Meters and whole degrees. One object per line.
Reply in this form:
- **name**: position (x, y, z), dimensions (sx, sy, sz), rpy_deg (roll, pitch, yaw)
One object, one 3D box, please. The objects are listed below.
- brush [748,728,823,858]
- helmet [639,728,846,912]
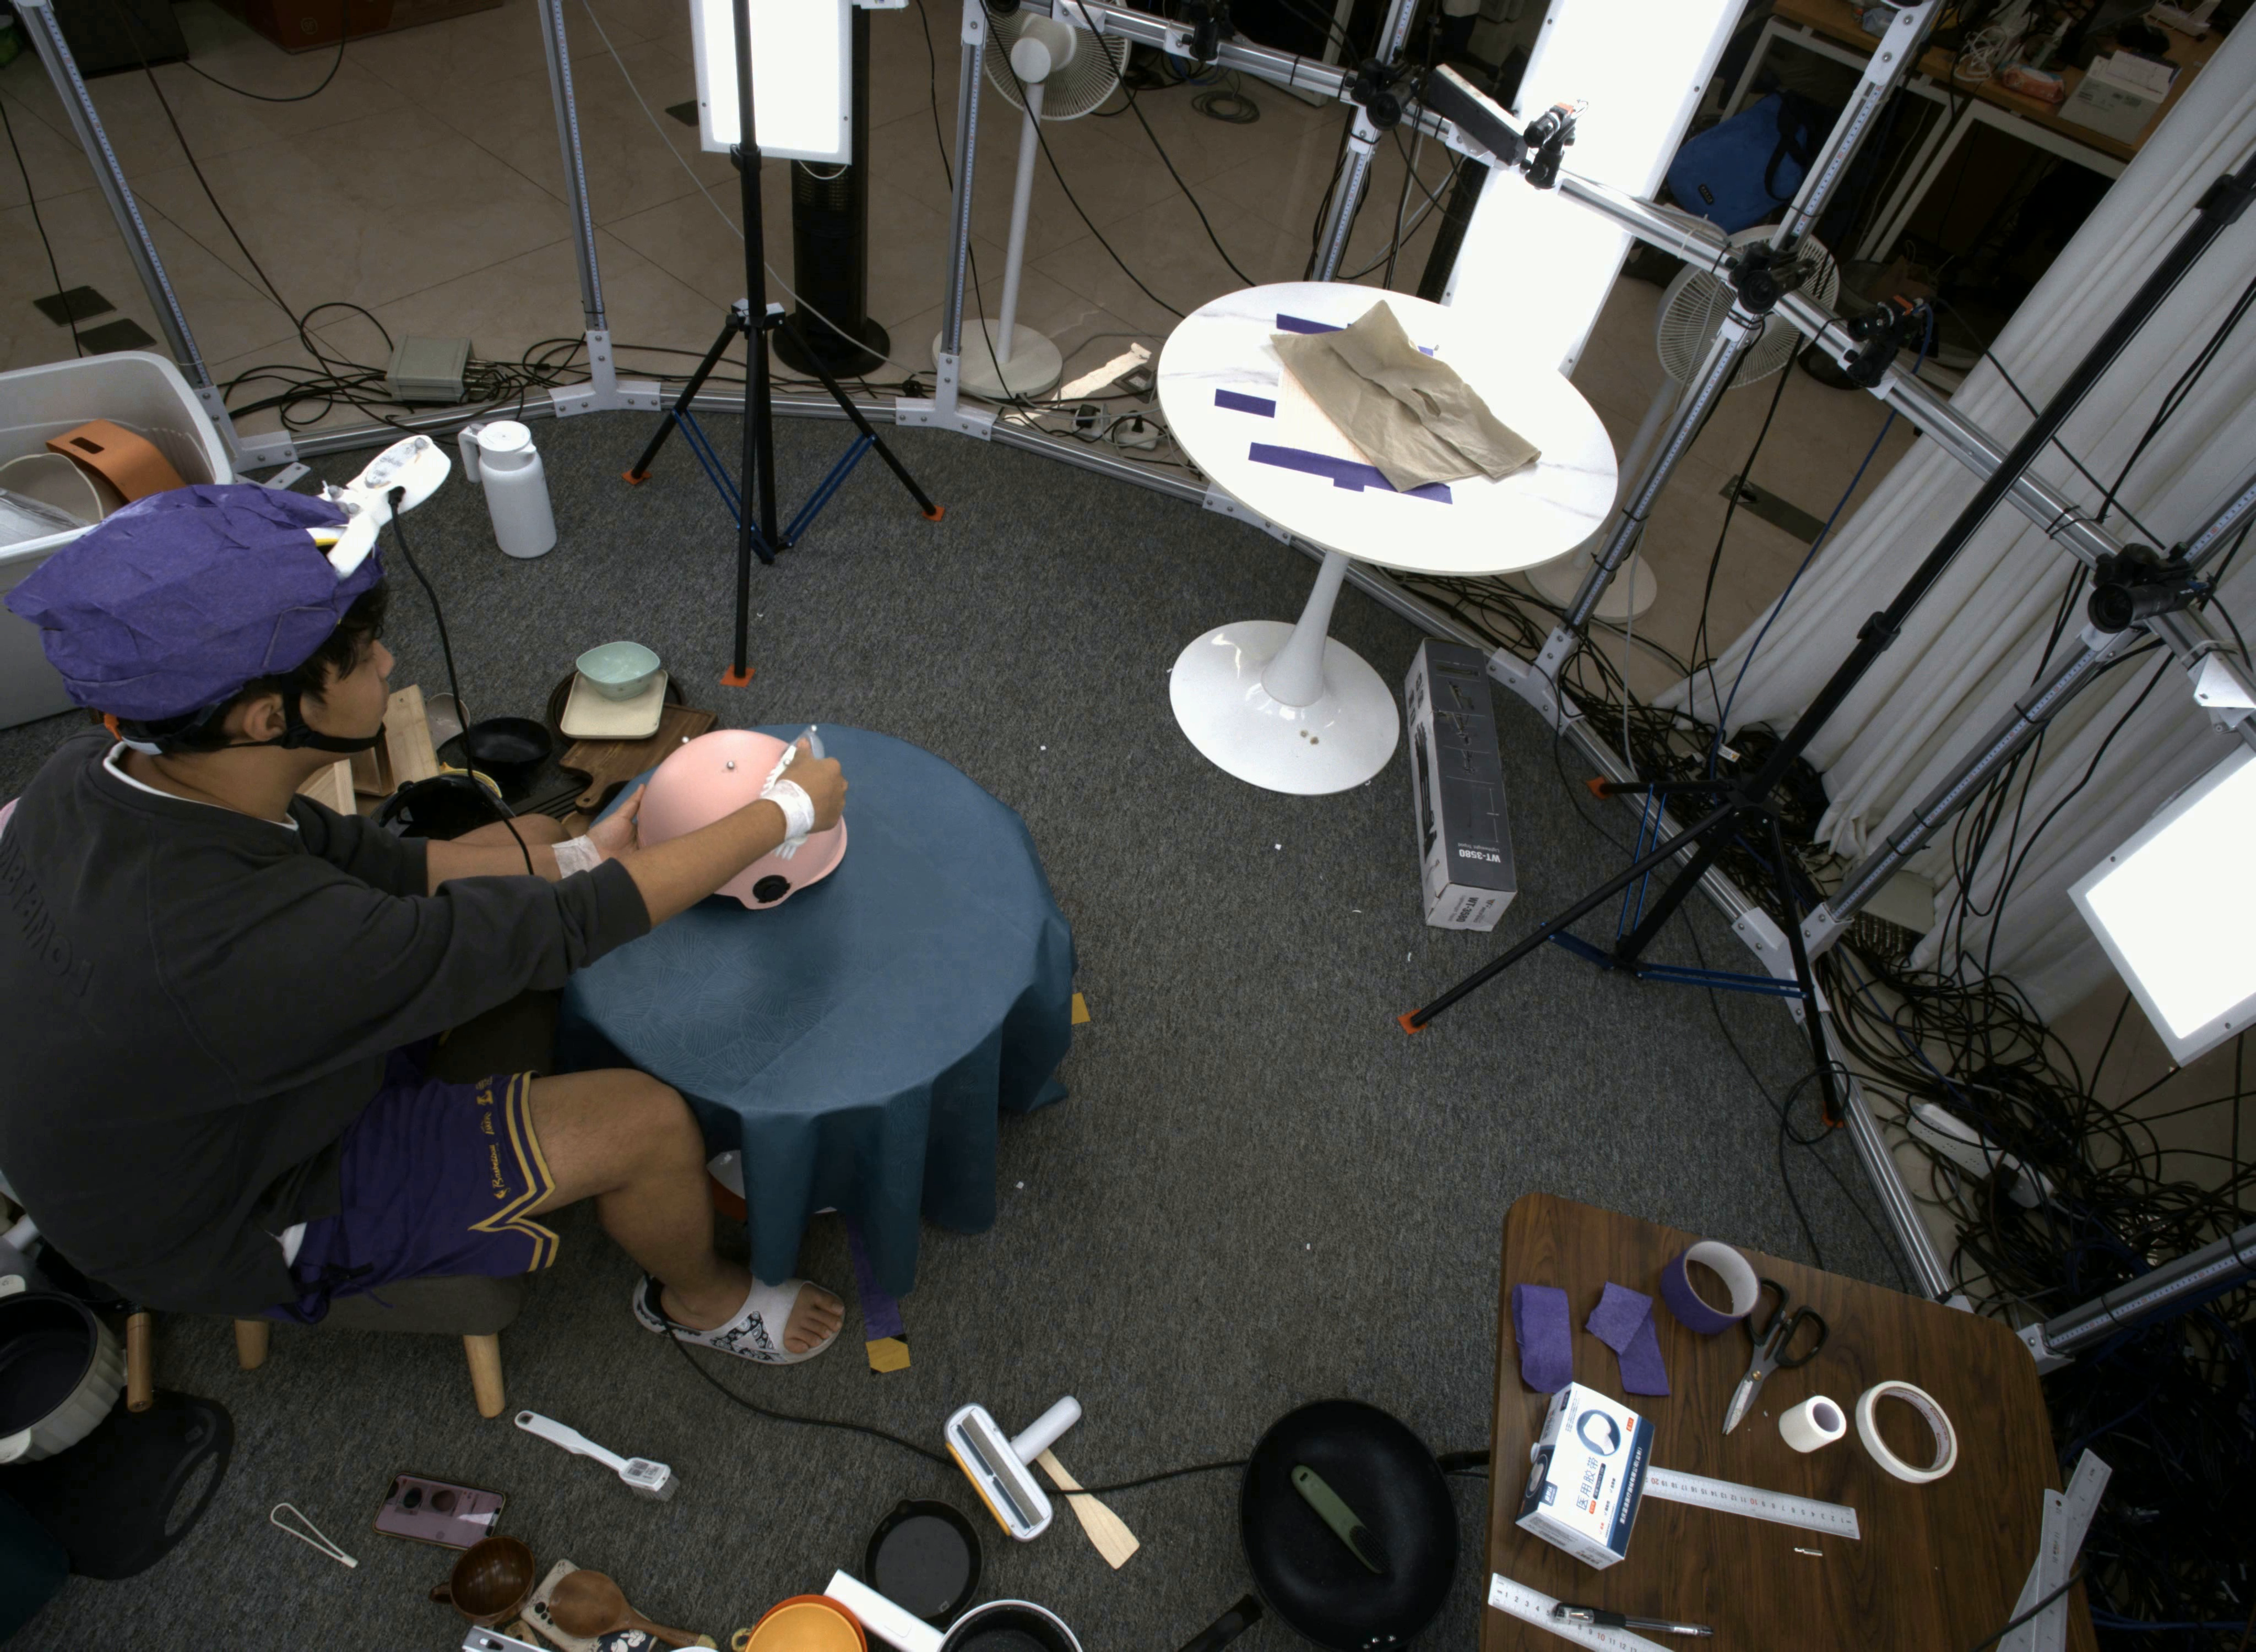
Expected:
- **brush**: position (-0.398, -0.058, 1.546), dimensions (0.063, 0.093, 0.172), rpy_deg (32, 40, -32)
- **helmet**: position (-0.483, -0.029, 1.636), dimensions (0.268, 0.161, 0.228), rpy_deg (-1, 52, -23)
